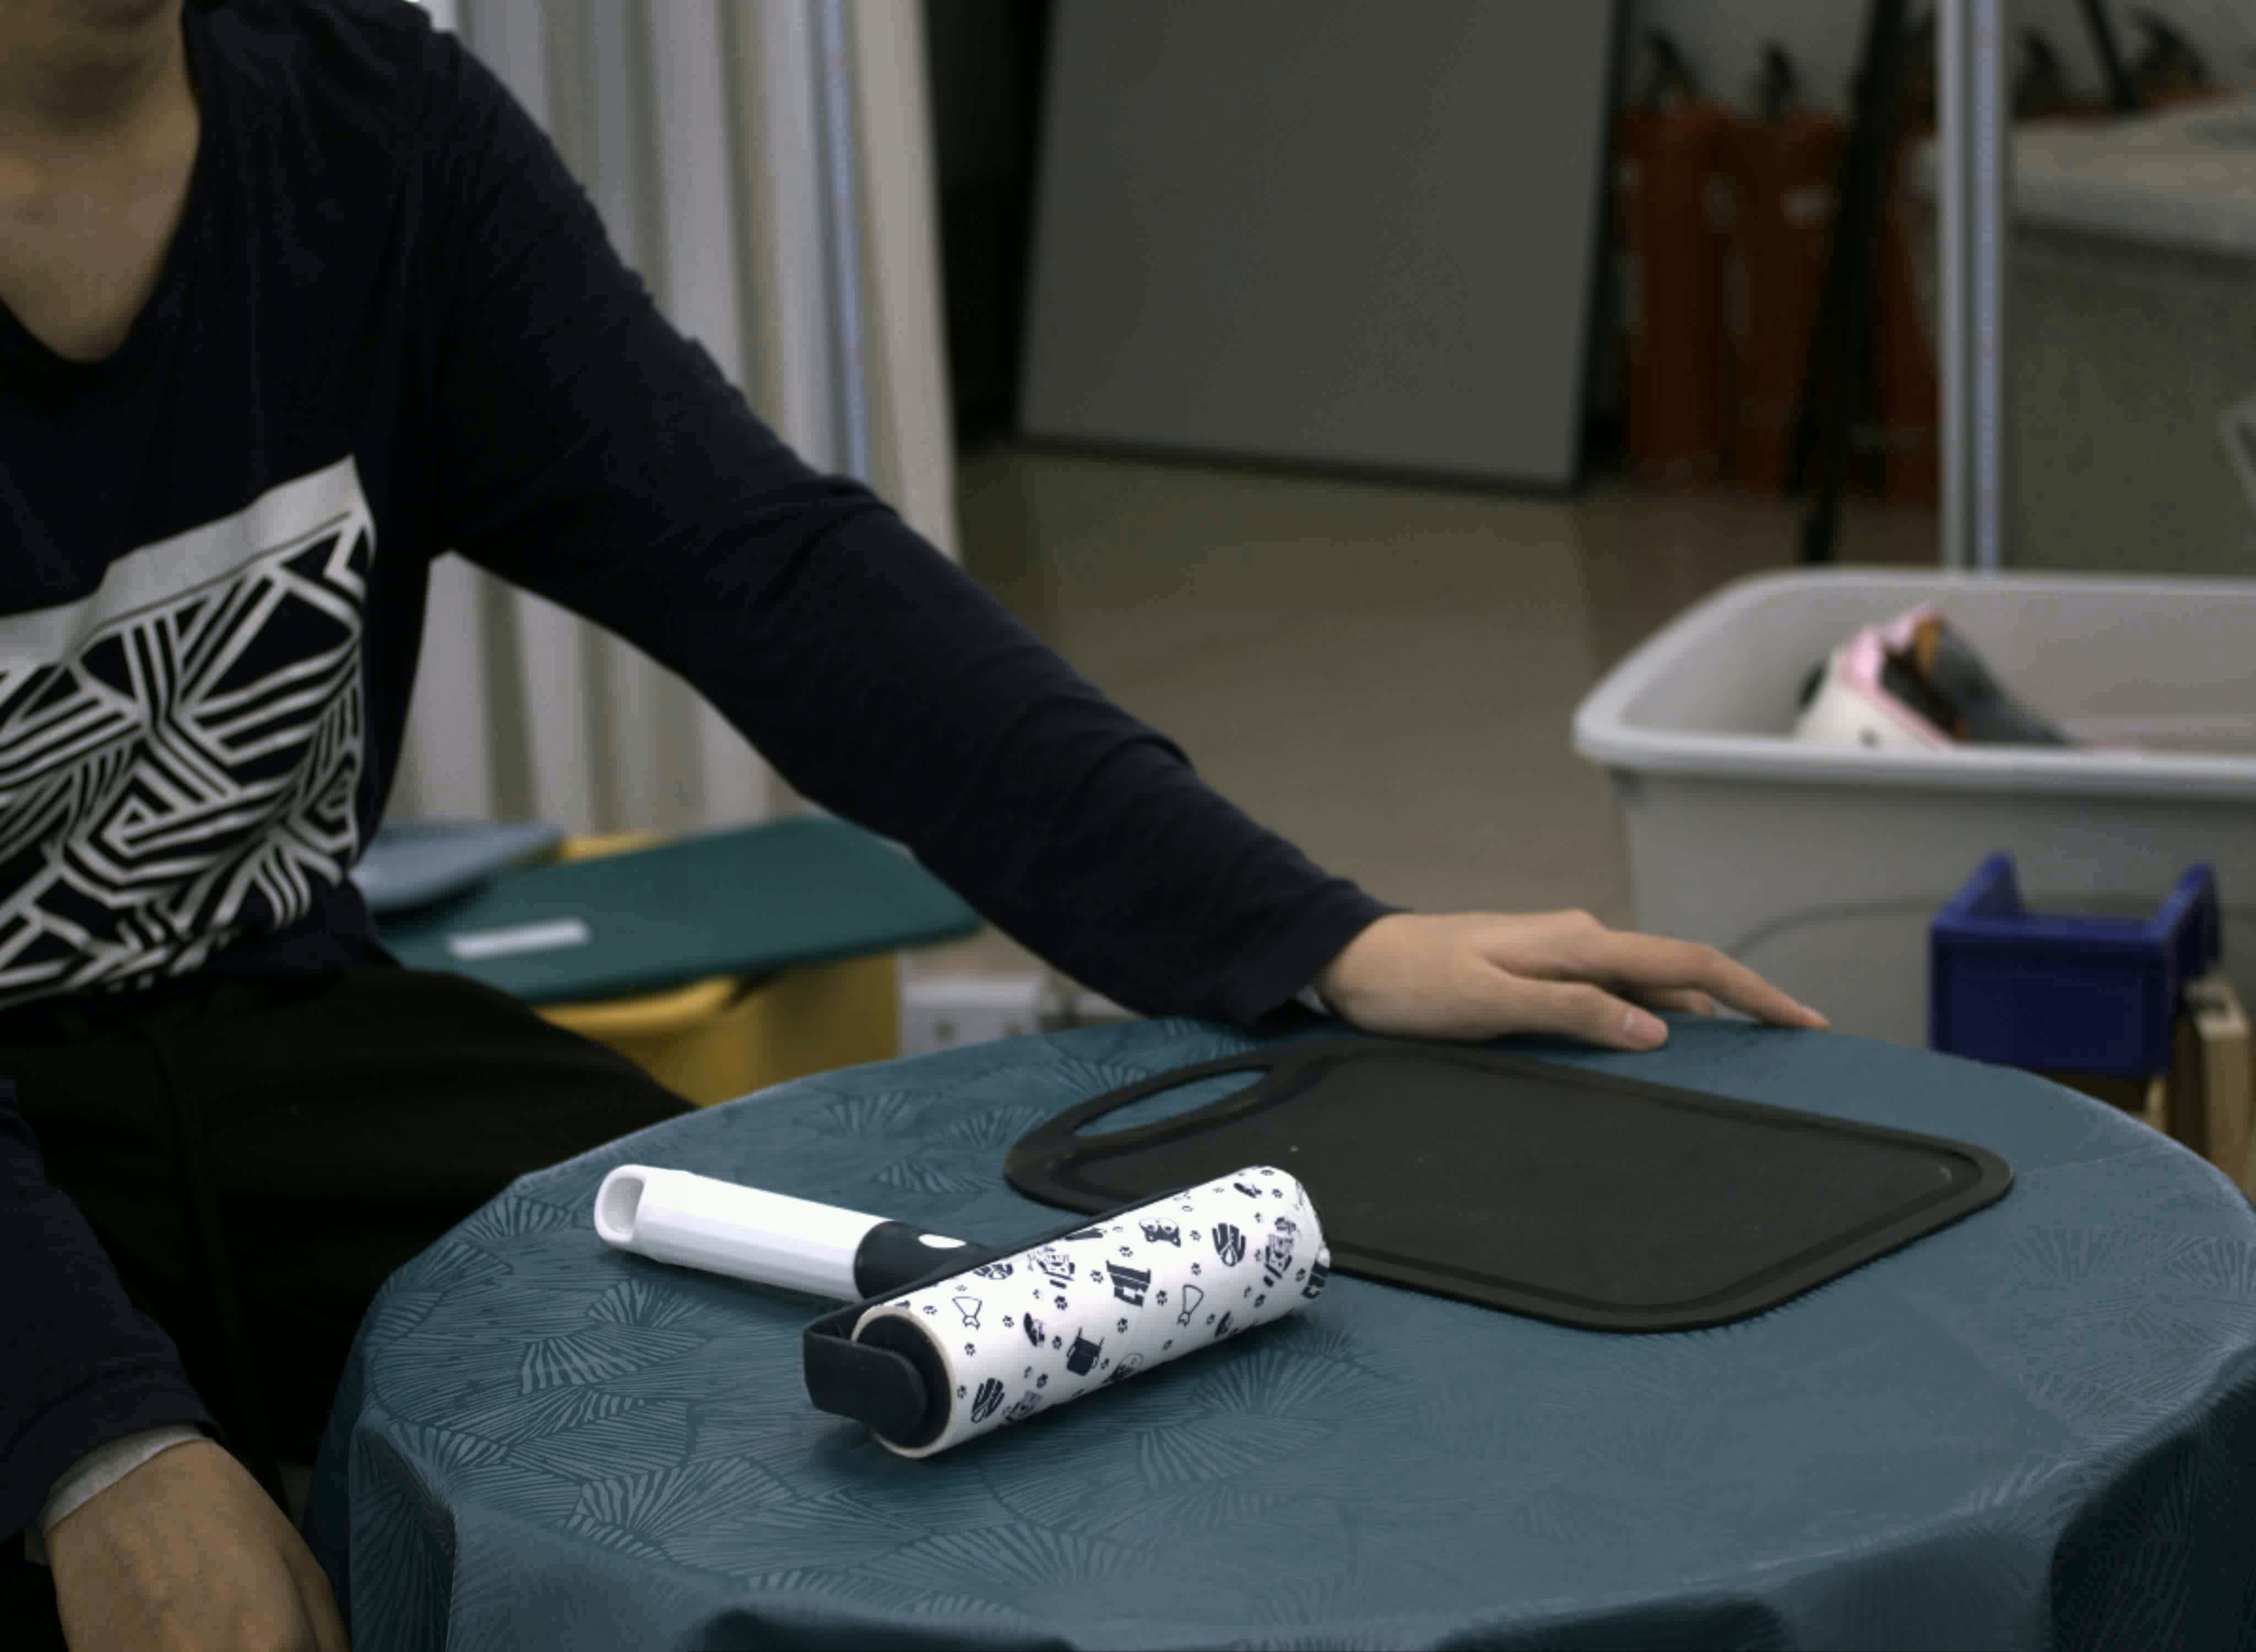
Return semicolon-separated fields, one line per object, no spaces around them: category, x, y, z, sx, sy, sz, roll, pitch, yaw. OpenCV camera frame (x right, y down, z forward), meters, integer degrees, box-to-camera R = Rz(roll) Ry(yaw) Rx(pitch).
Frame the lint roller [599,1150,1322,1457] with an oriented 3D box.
lint roller;-0.082;0.133;1.662;0.173;0.051;0.249;-18;17;-42

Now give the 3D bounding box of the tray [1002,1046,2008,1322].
tray;0.113;0.112;1.767;0.328;0.010;0.207;9;18;44
